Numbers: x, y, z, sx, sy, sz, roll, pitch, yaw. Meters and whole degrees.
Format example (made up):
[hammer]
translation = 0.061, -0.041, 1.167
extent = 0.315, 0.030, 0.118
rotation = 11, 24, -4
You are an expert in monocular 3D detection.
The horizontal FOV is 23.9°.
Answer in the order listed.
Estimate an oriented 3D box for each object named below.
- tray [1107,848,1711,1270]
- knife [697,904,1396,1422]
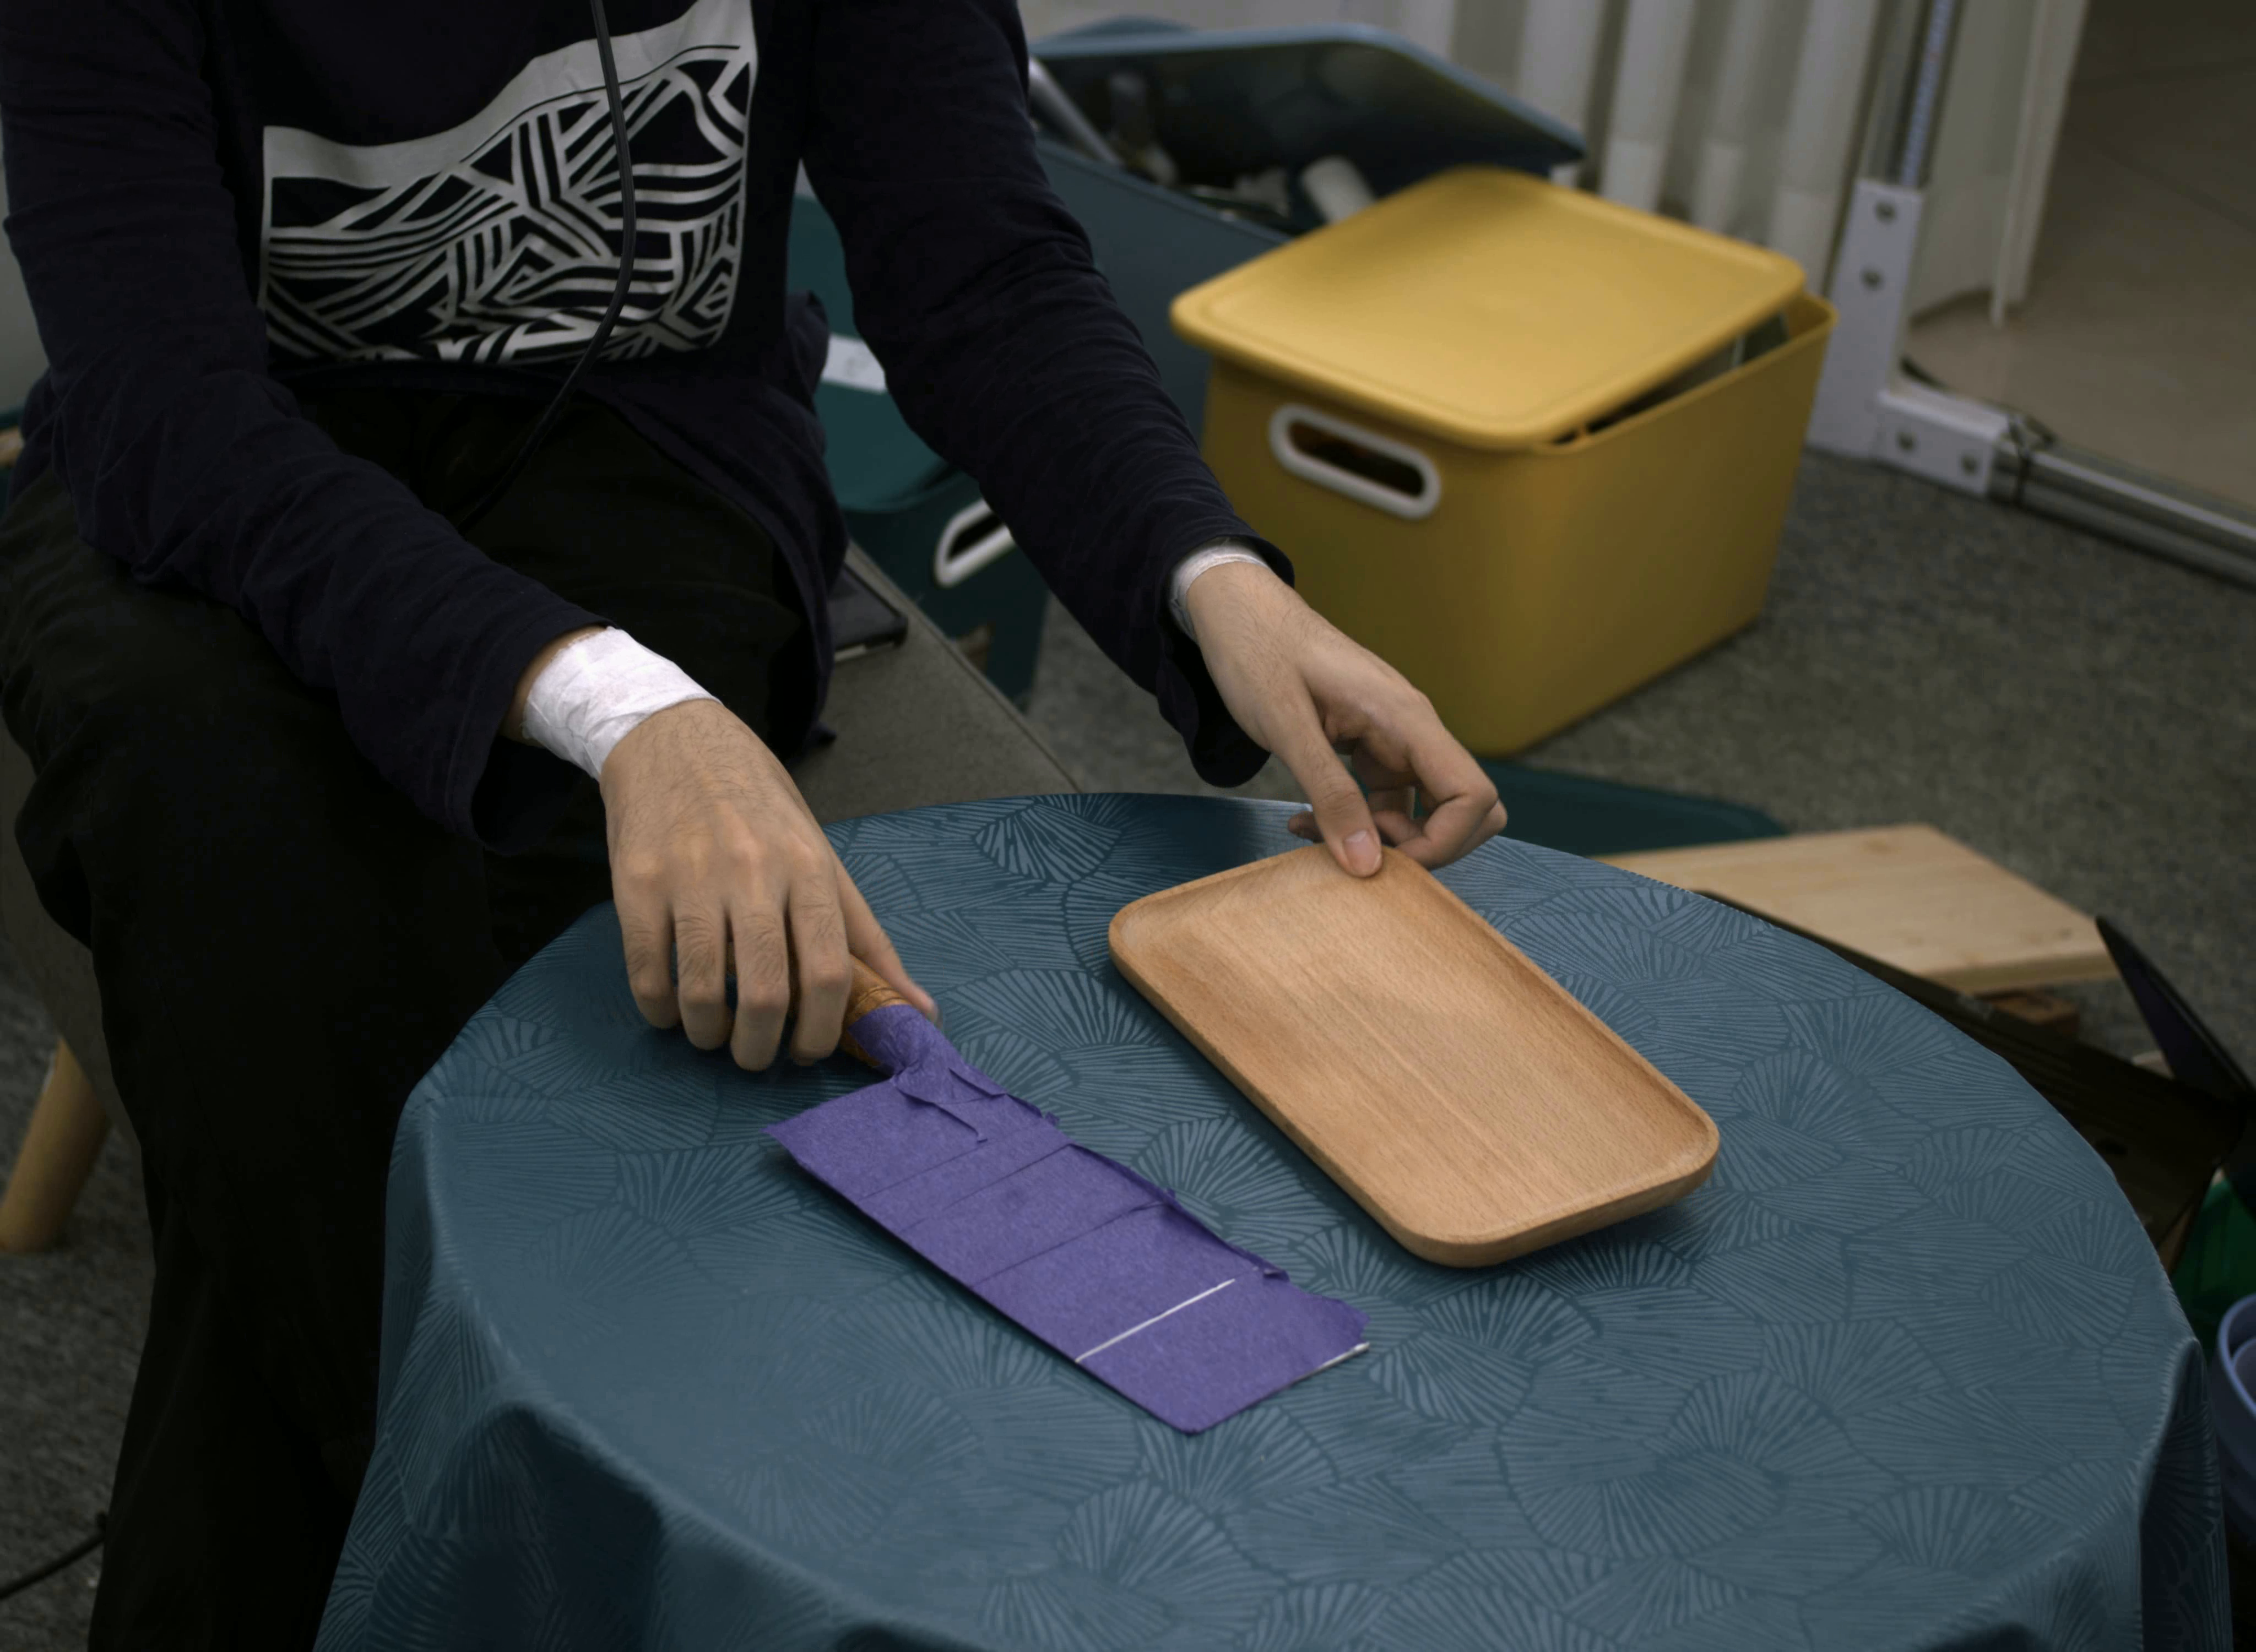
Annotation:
[tray]
translation = 0.096, 0.079, 1.882
extent = 0.130, 0.023, 0.253
rotation = -16, 34, -21
[knife]
translation = -0.055, 0.110, 1.791
extent = 0.103, 0.032, 0.317
rotation = -19, 37, -42
